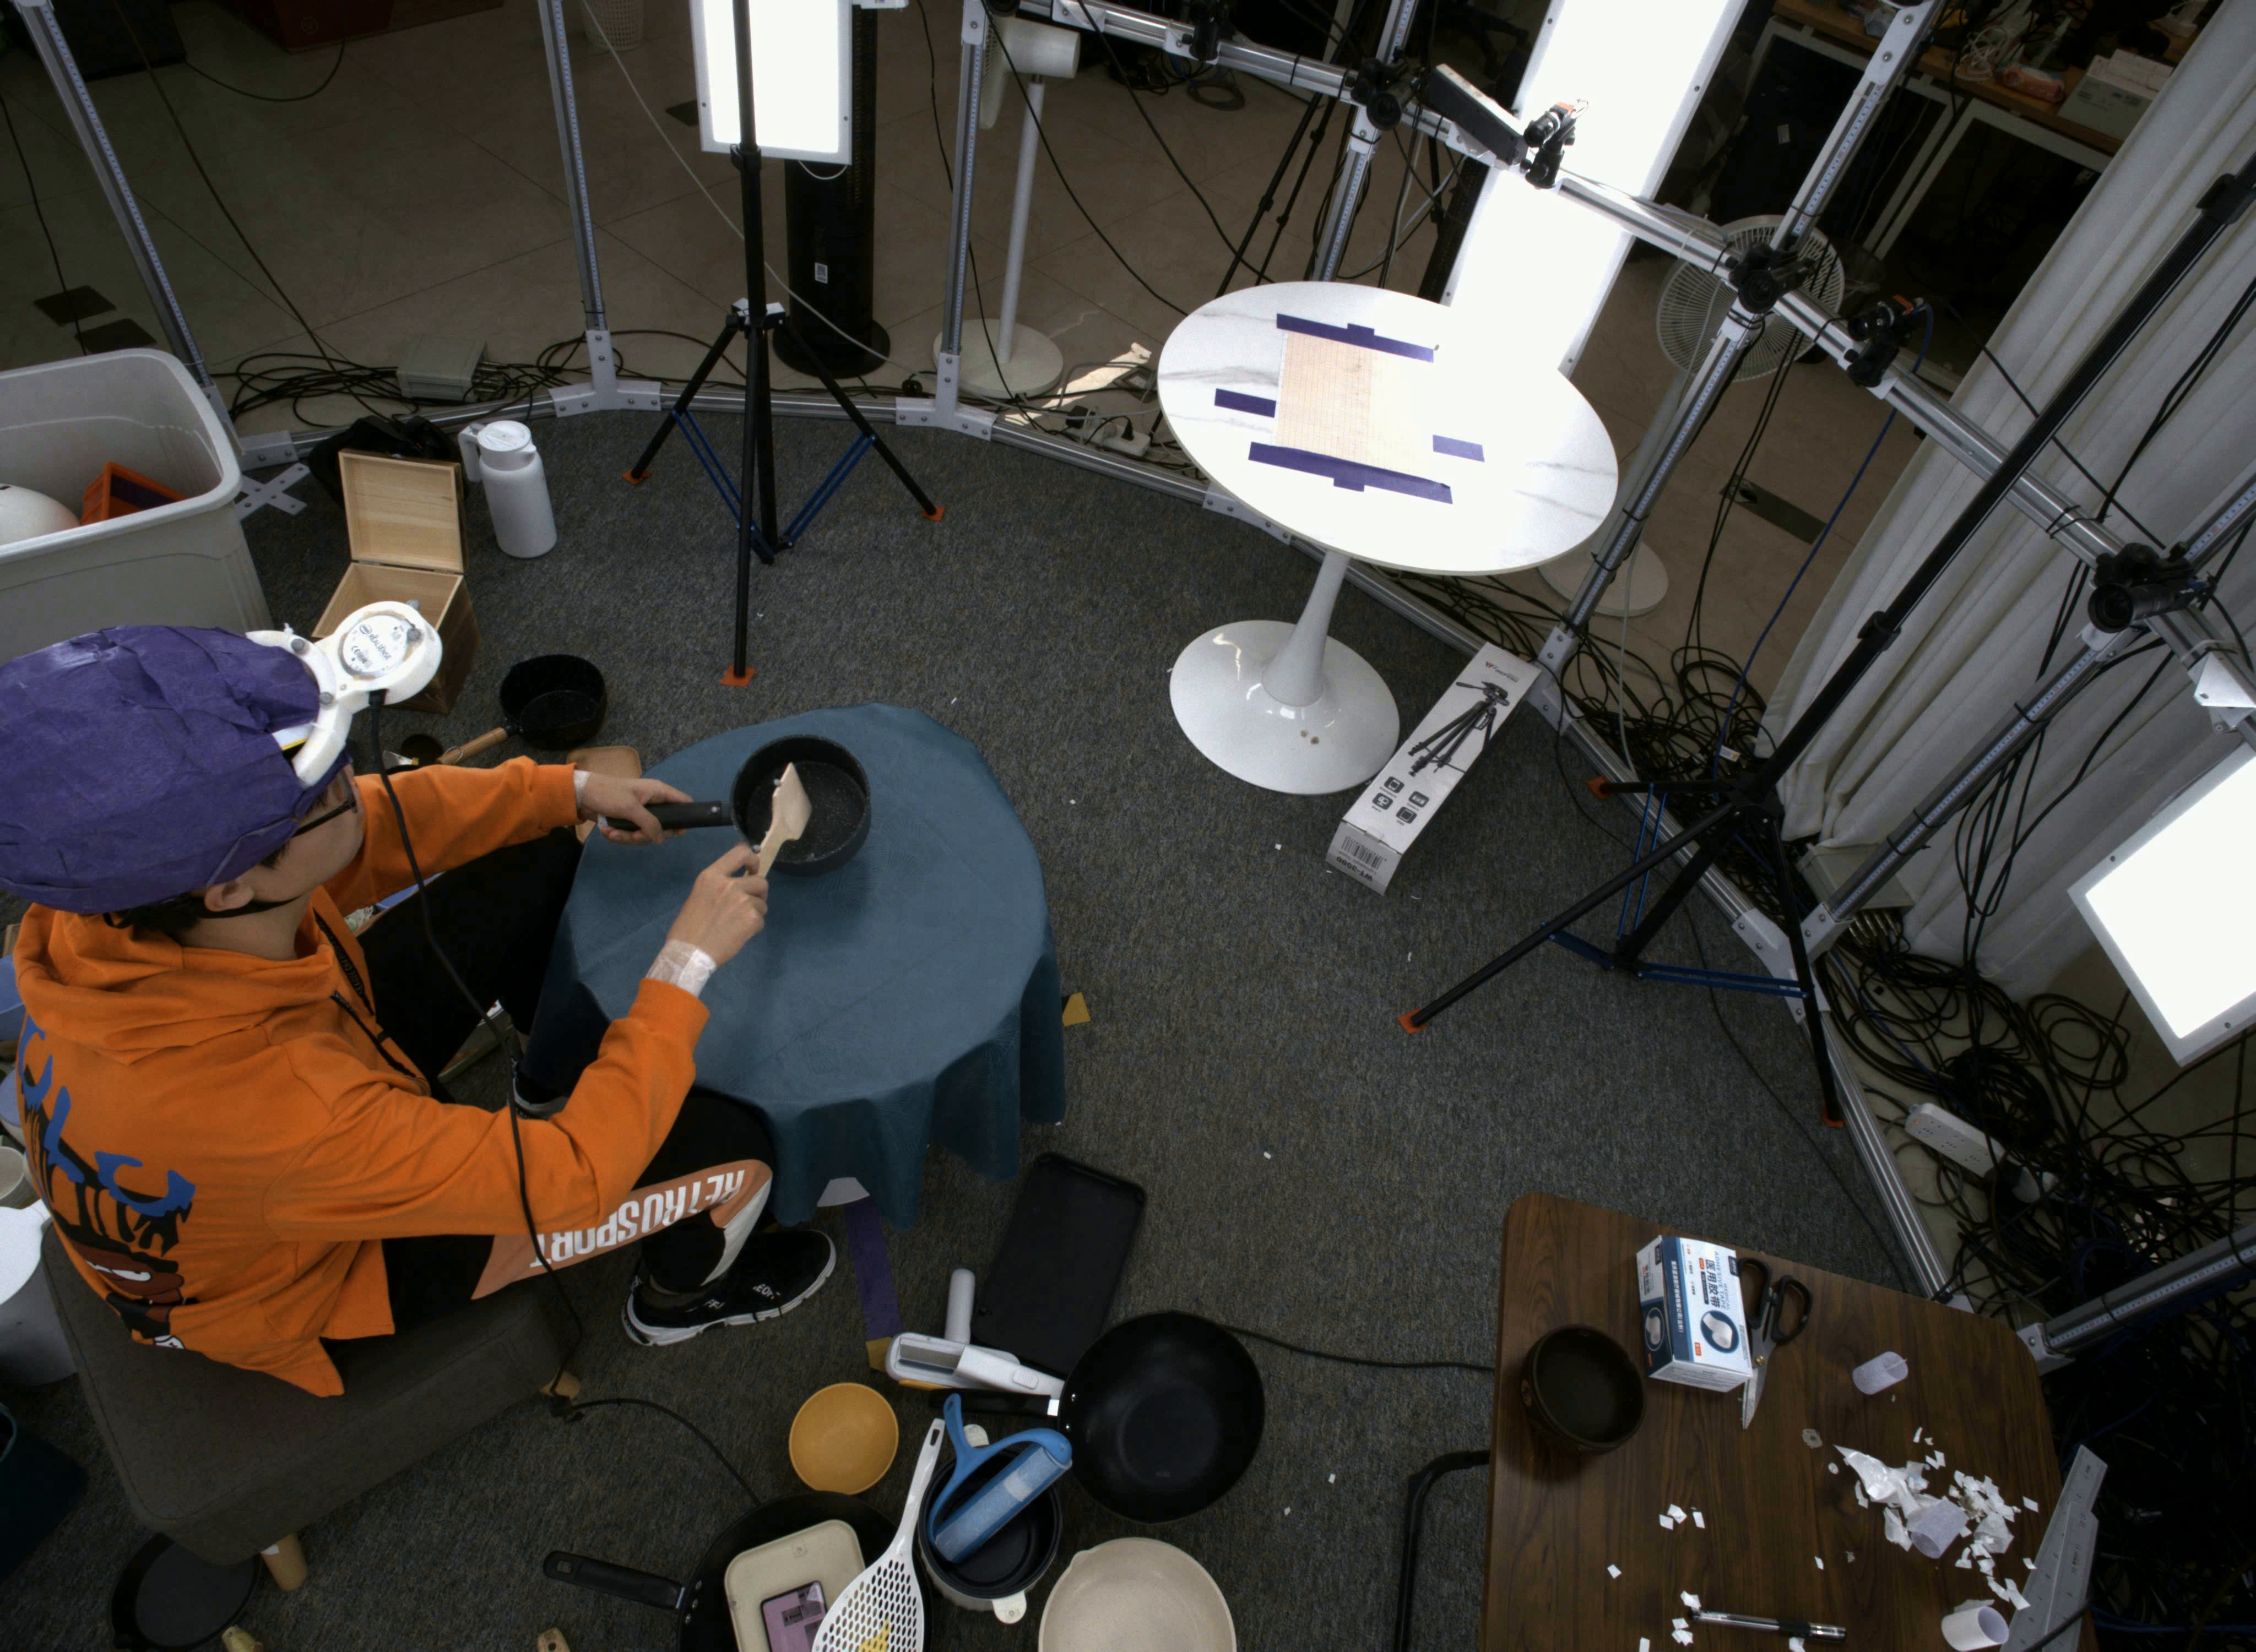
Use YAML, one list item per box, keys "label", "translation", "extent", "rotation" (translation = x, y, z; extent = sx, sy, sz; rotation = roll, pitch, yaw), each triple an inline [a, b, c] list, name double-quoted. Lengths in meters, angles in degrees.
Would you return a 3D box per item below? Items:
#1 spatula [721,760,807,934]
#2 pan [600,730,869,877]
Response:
- label: "spatula"
  translation: [-0.415, 0.023, 1.478]
  extent: [0.010, 0.075, 0.287]
  rotation: [-8, 33, 9]
- label: "pan"
  translation: [-0.485, -0.019, 1.602]
  extent: [0.328, 0.087, 0.170]
  rotation: [-4, 71, -11]
